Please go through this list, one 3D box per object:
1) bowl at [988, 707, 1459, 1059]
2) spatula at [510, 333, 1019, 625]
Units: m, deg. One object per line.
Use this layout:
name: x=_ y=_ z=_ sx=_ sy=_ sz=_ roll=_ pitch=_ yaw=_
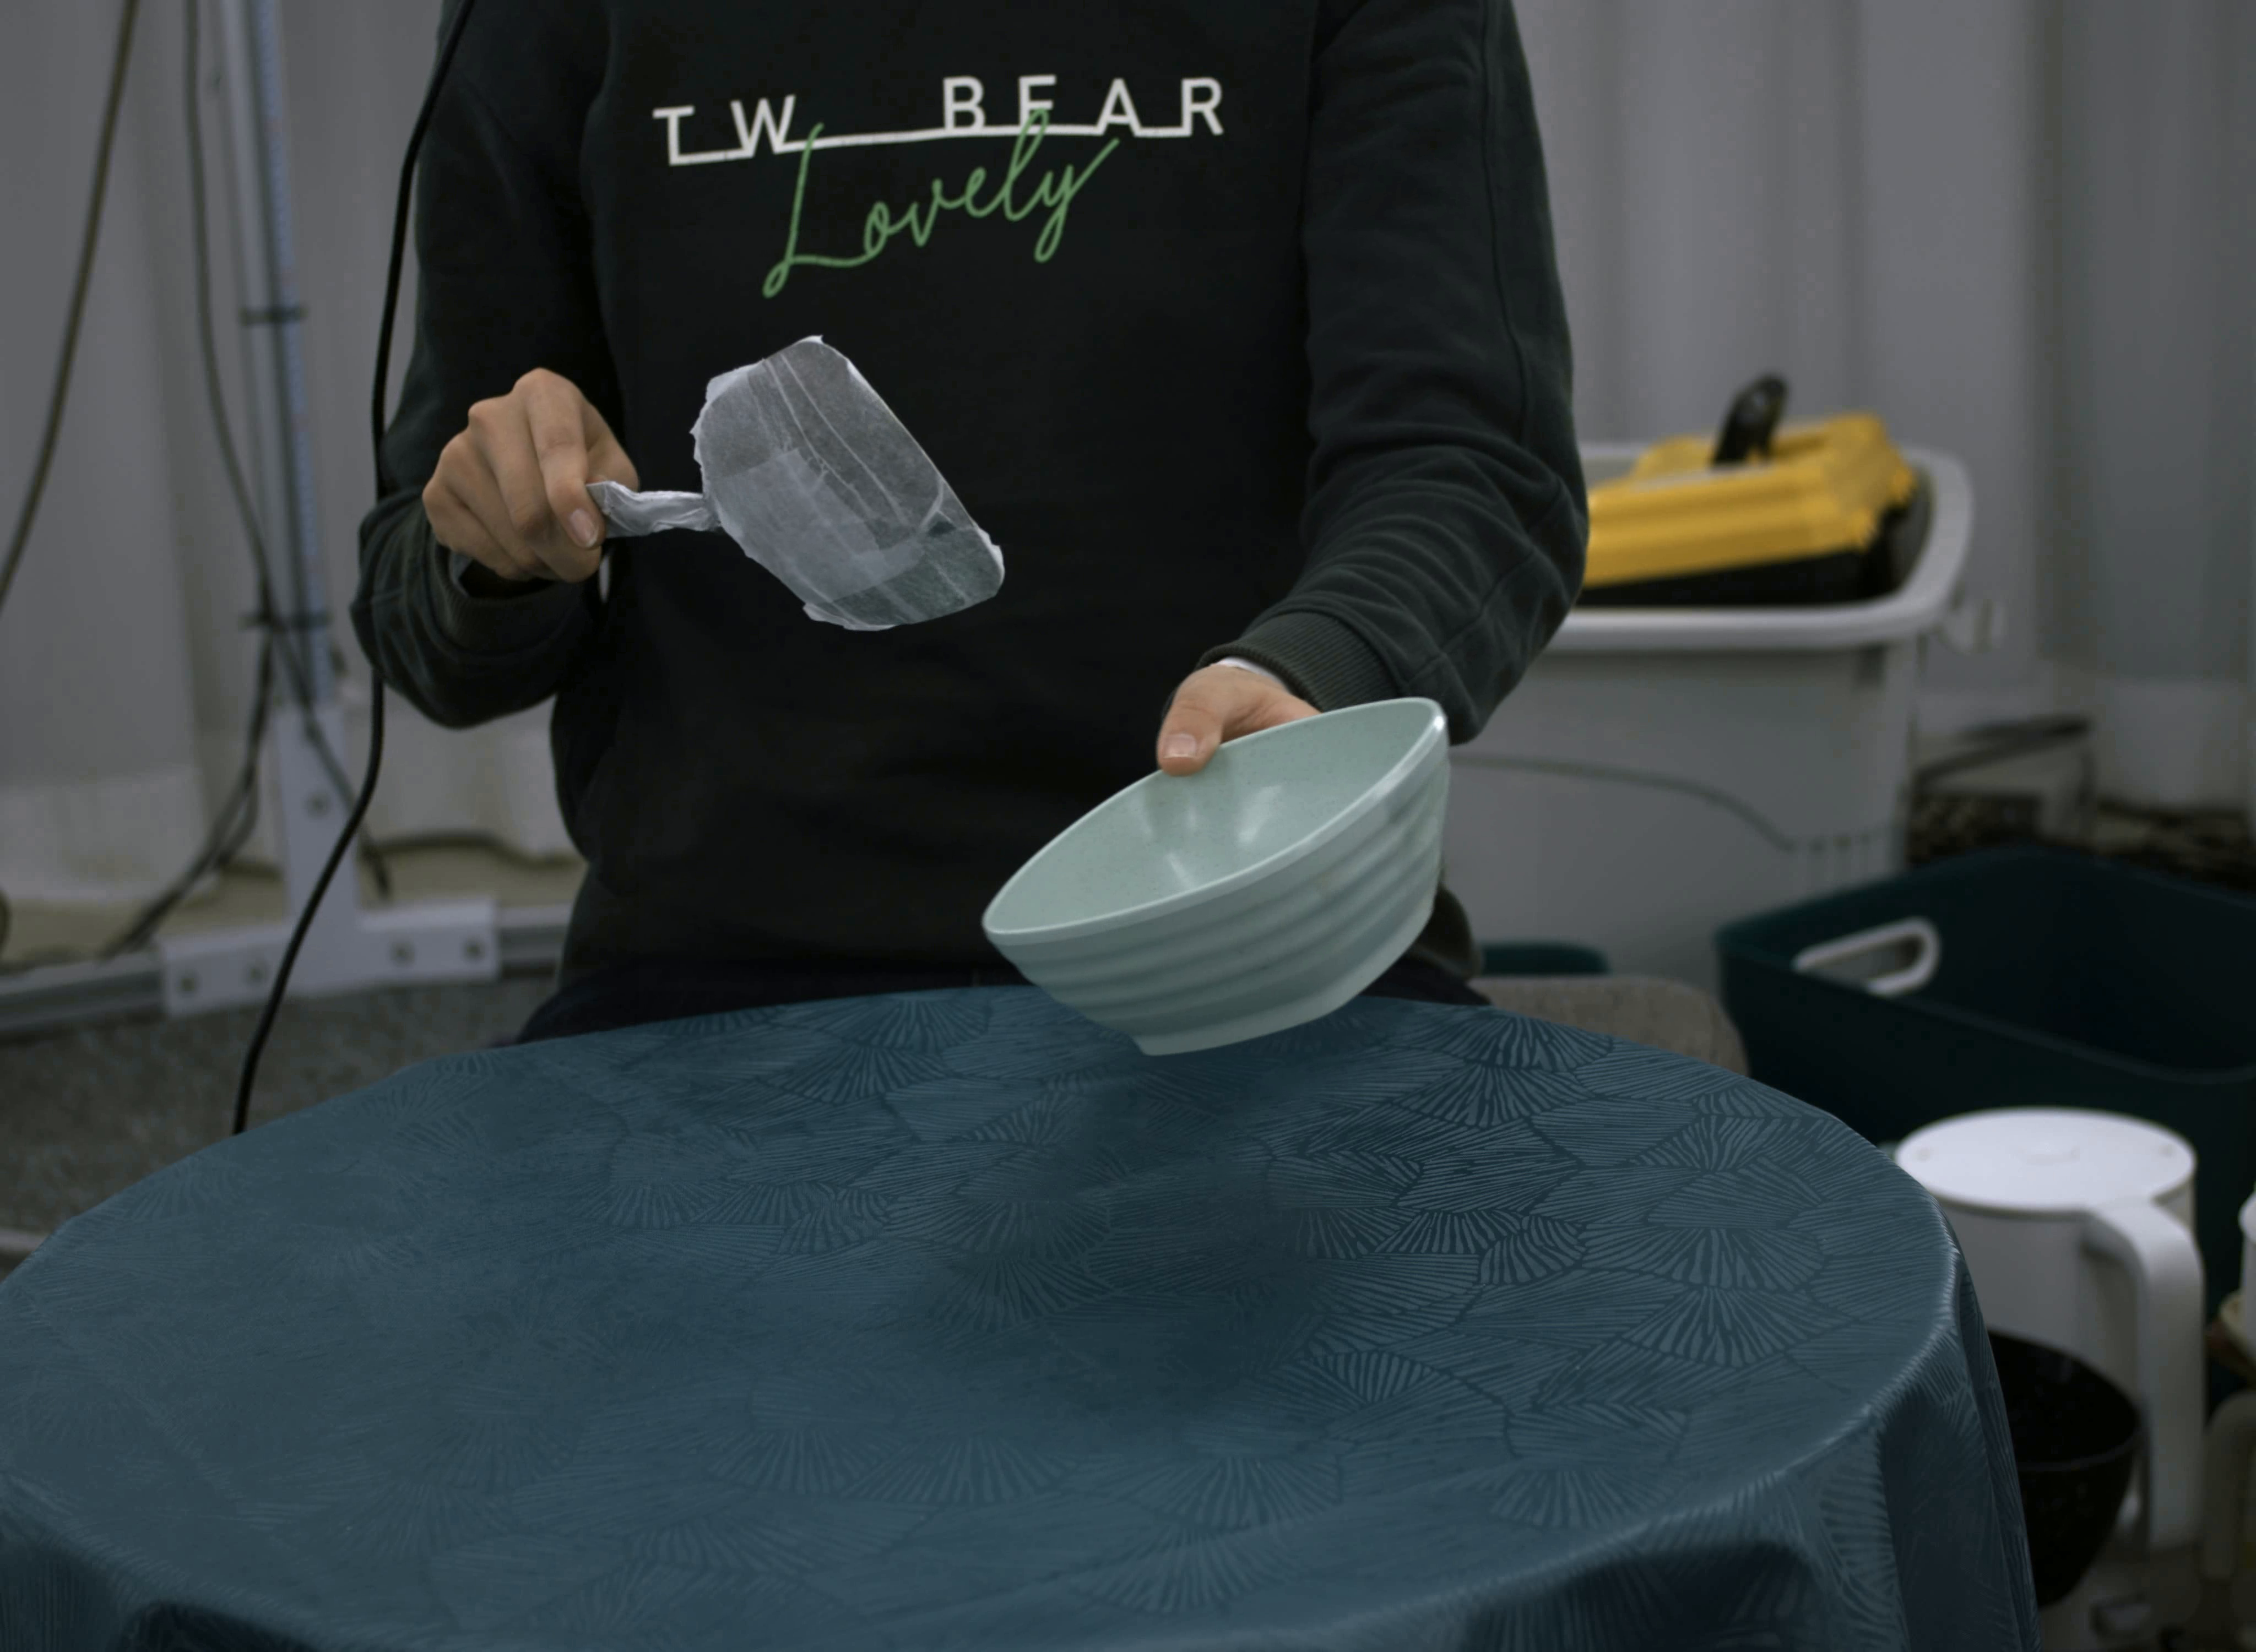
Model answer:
bowl: x=0.037 y=0.023 z=1.623 sx=0.151 sy=0.058 sz=0.152 roll=-21 pitch=16 yaw=6
spatula: x=-0.137 y=-0.102 z=1.773 sx=0.045 sy=0.098 sz=0.366 roll=-43 pitch=16 yaw=-15
